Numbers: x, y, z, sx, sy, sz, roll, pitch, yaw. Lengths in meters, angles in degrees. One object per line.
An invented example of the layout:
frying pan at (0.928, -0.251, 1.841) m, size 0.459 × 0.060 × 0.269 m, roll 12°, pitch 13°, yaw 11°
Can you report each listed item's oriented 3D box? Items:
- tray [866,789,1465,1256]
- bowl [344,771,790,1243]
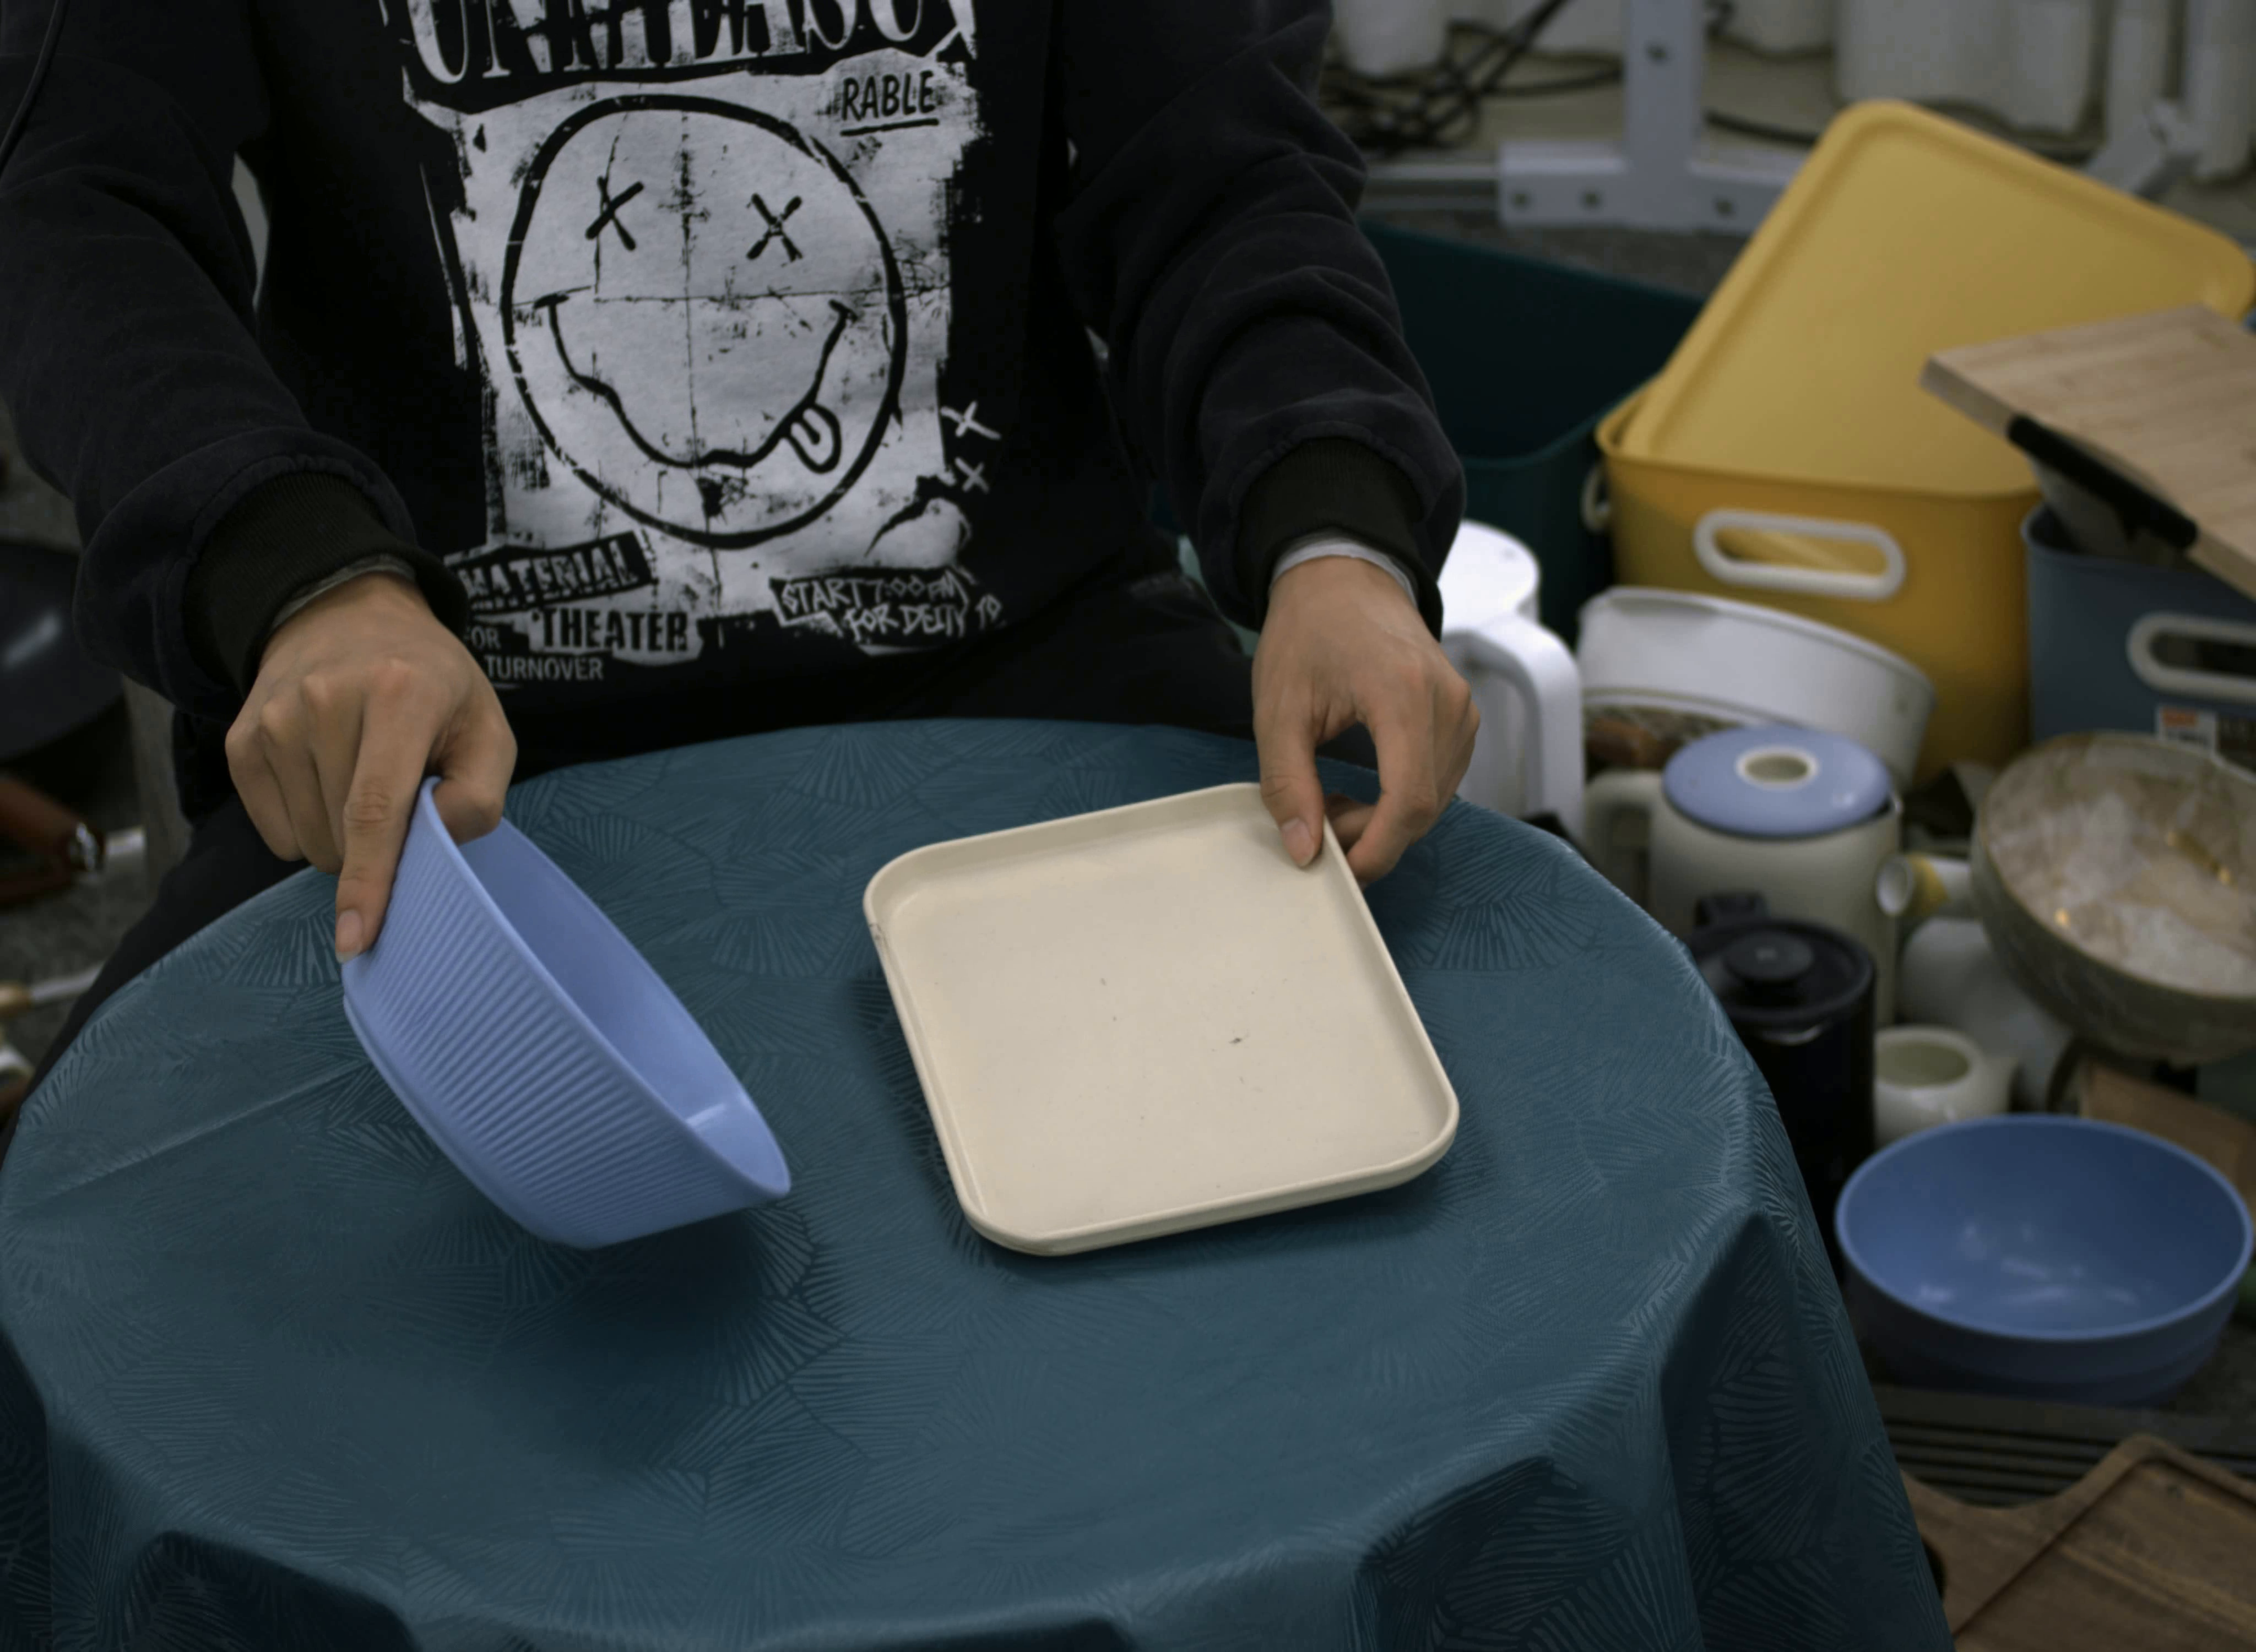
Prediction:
tray at (0.010, 0.066, 1.923) m, size 0.171 × 0.017 × 0.243 m, roll -10°, pitch 33°, yaw -8°
bowl at (-0.189, 0.069, 1.799) m, size 0.070 × 0.175 × 0.177 m, roll -41°, pitch 31°, yaw 3°
